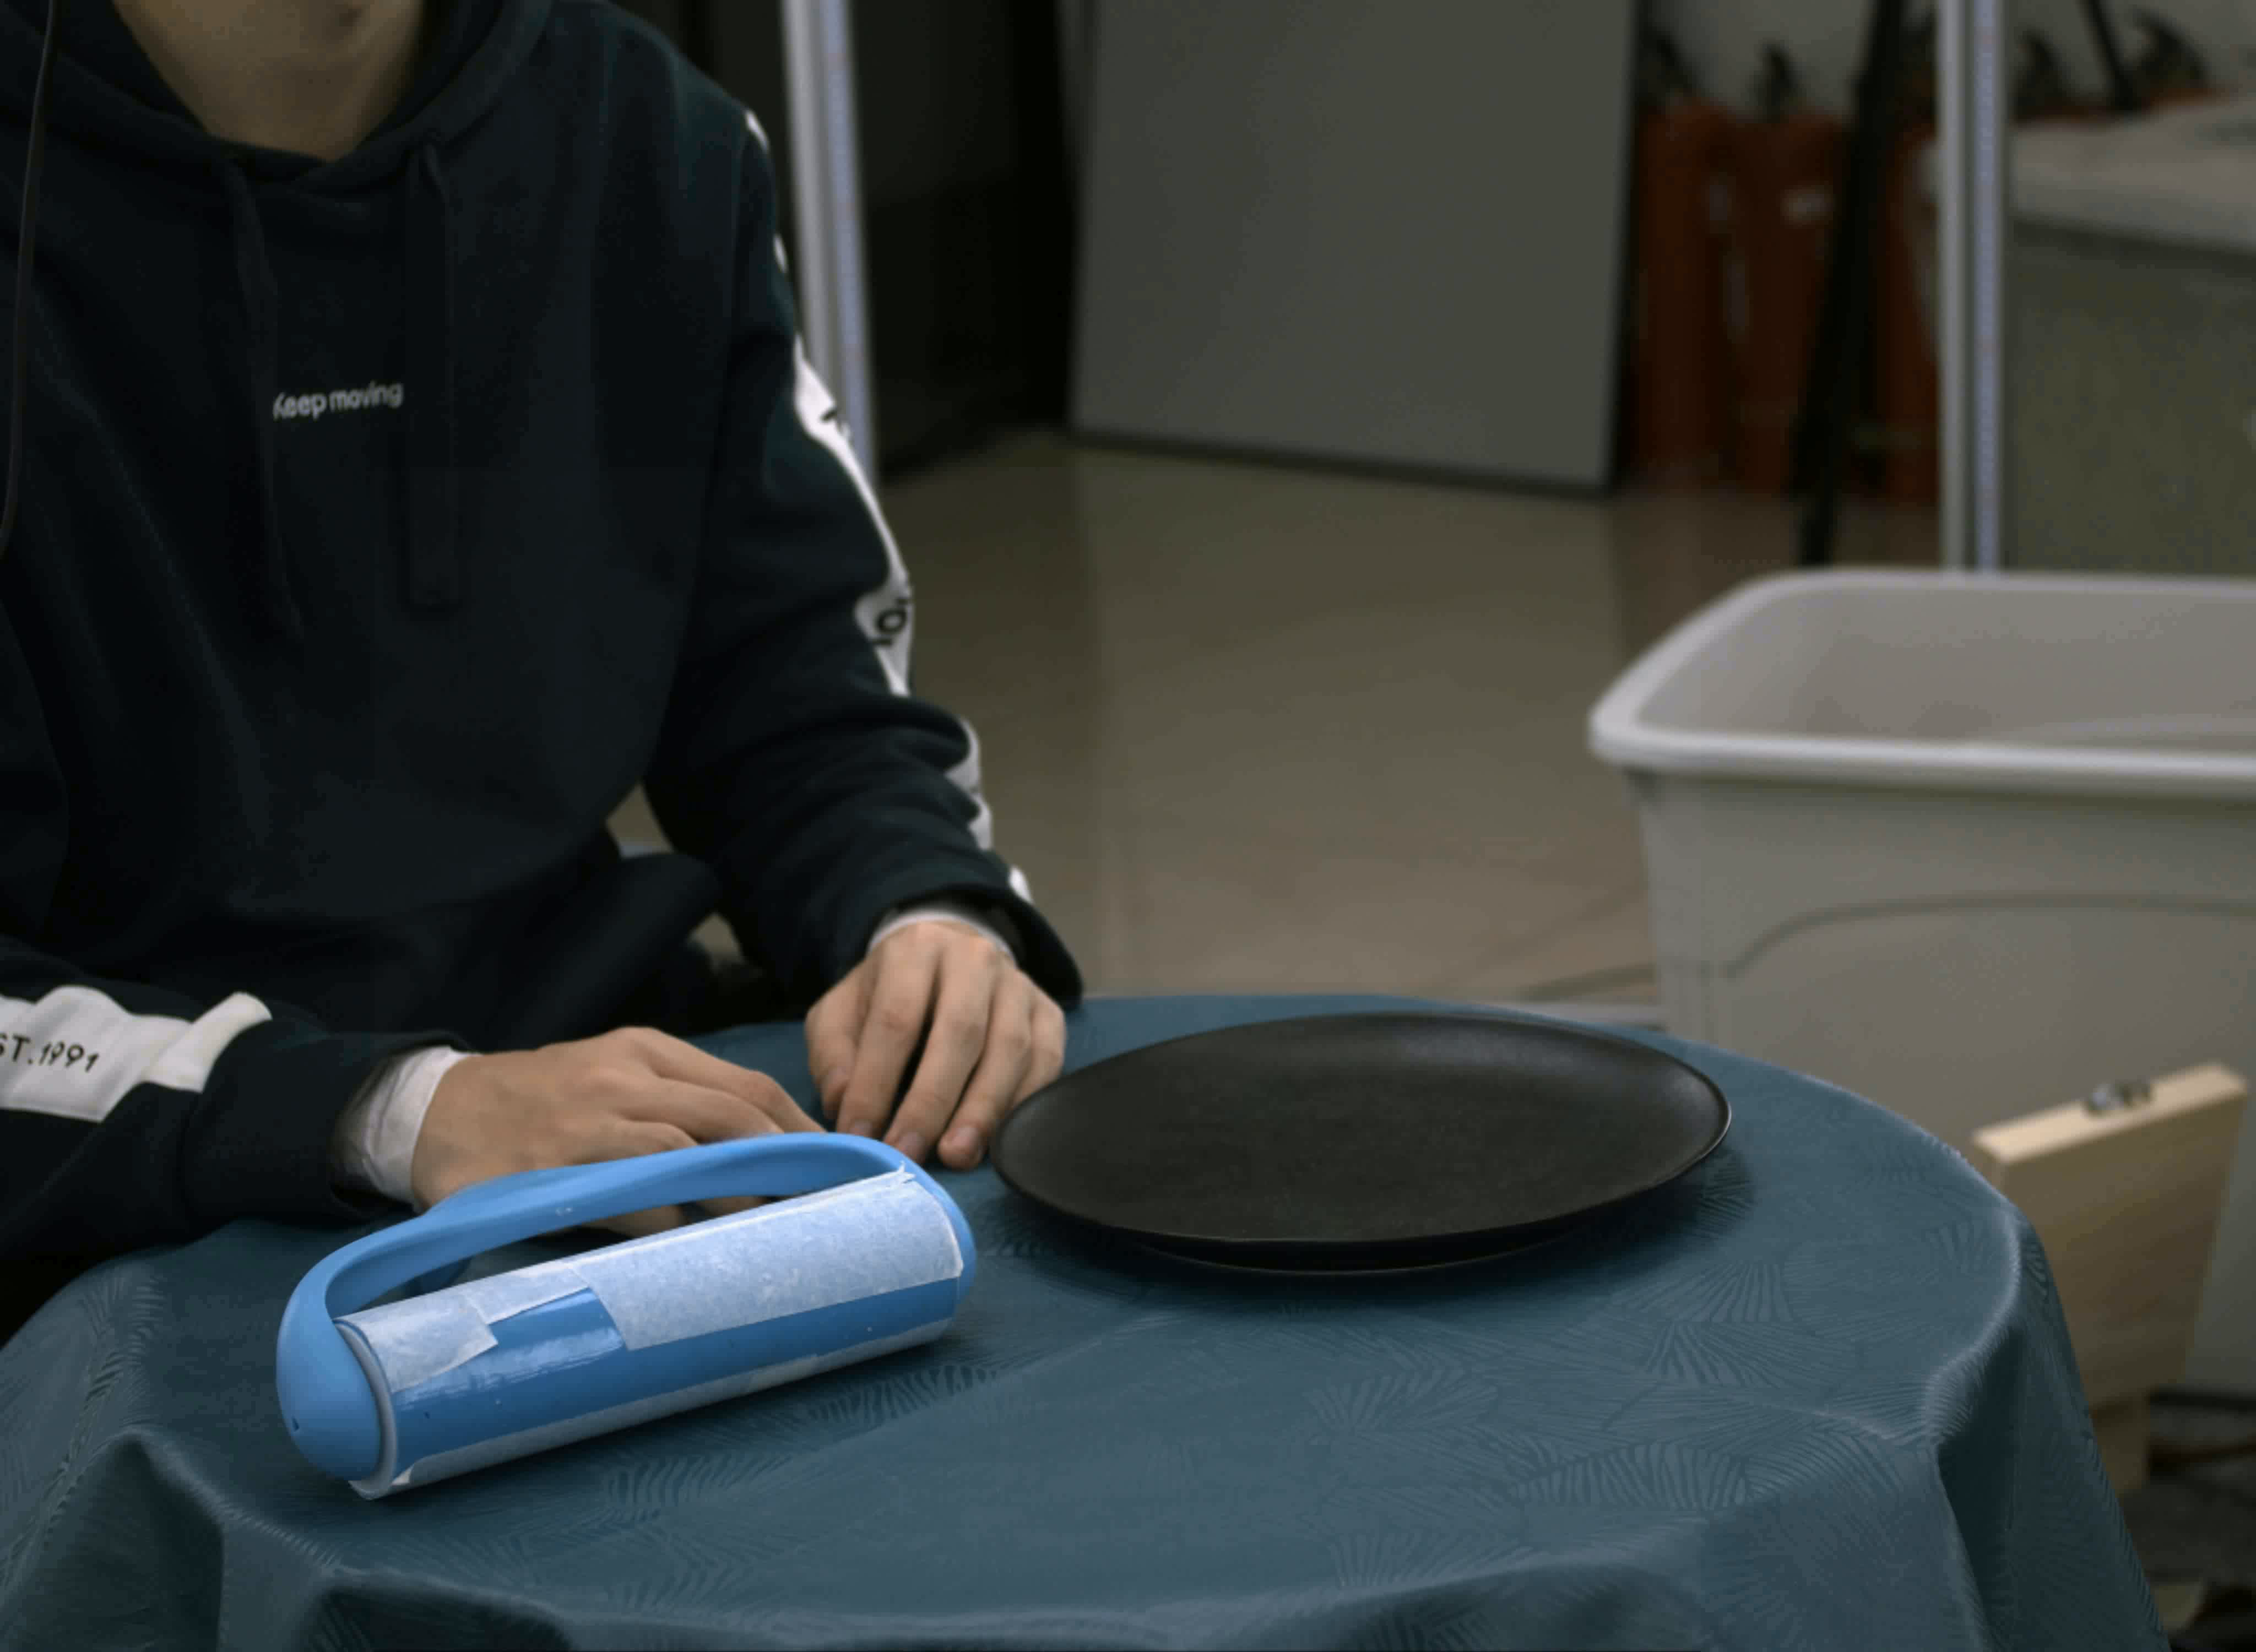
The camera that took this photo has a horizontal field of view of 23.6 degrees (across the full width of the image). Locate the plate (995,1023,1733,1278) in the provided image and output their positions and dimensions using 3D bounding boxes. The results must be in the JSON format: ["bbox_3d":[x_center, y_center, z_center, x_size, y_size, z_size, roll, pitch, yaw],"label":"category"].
[{"bbox_3d":[0.077,0.107,1.757,0.241,0.024,0.245,-4,14,0],"label":"plate"}]

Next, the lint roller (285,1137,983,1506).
[{"bbox_3d":[-0.175,0.139,1.635,0.224,0.068,0.182,-15,18,-34],"label":"lint roller"}]
